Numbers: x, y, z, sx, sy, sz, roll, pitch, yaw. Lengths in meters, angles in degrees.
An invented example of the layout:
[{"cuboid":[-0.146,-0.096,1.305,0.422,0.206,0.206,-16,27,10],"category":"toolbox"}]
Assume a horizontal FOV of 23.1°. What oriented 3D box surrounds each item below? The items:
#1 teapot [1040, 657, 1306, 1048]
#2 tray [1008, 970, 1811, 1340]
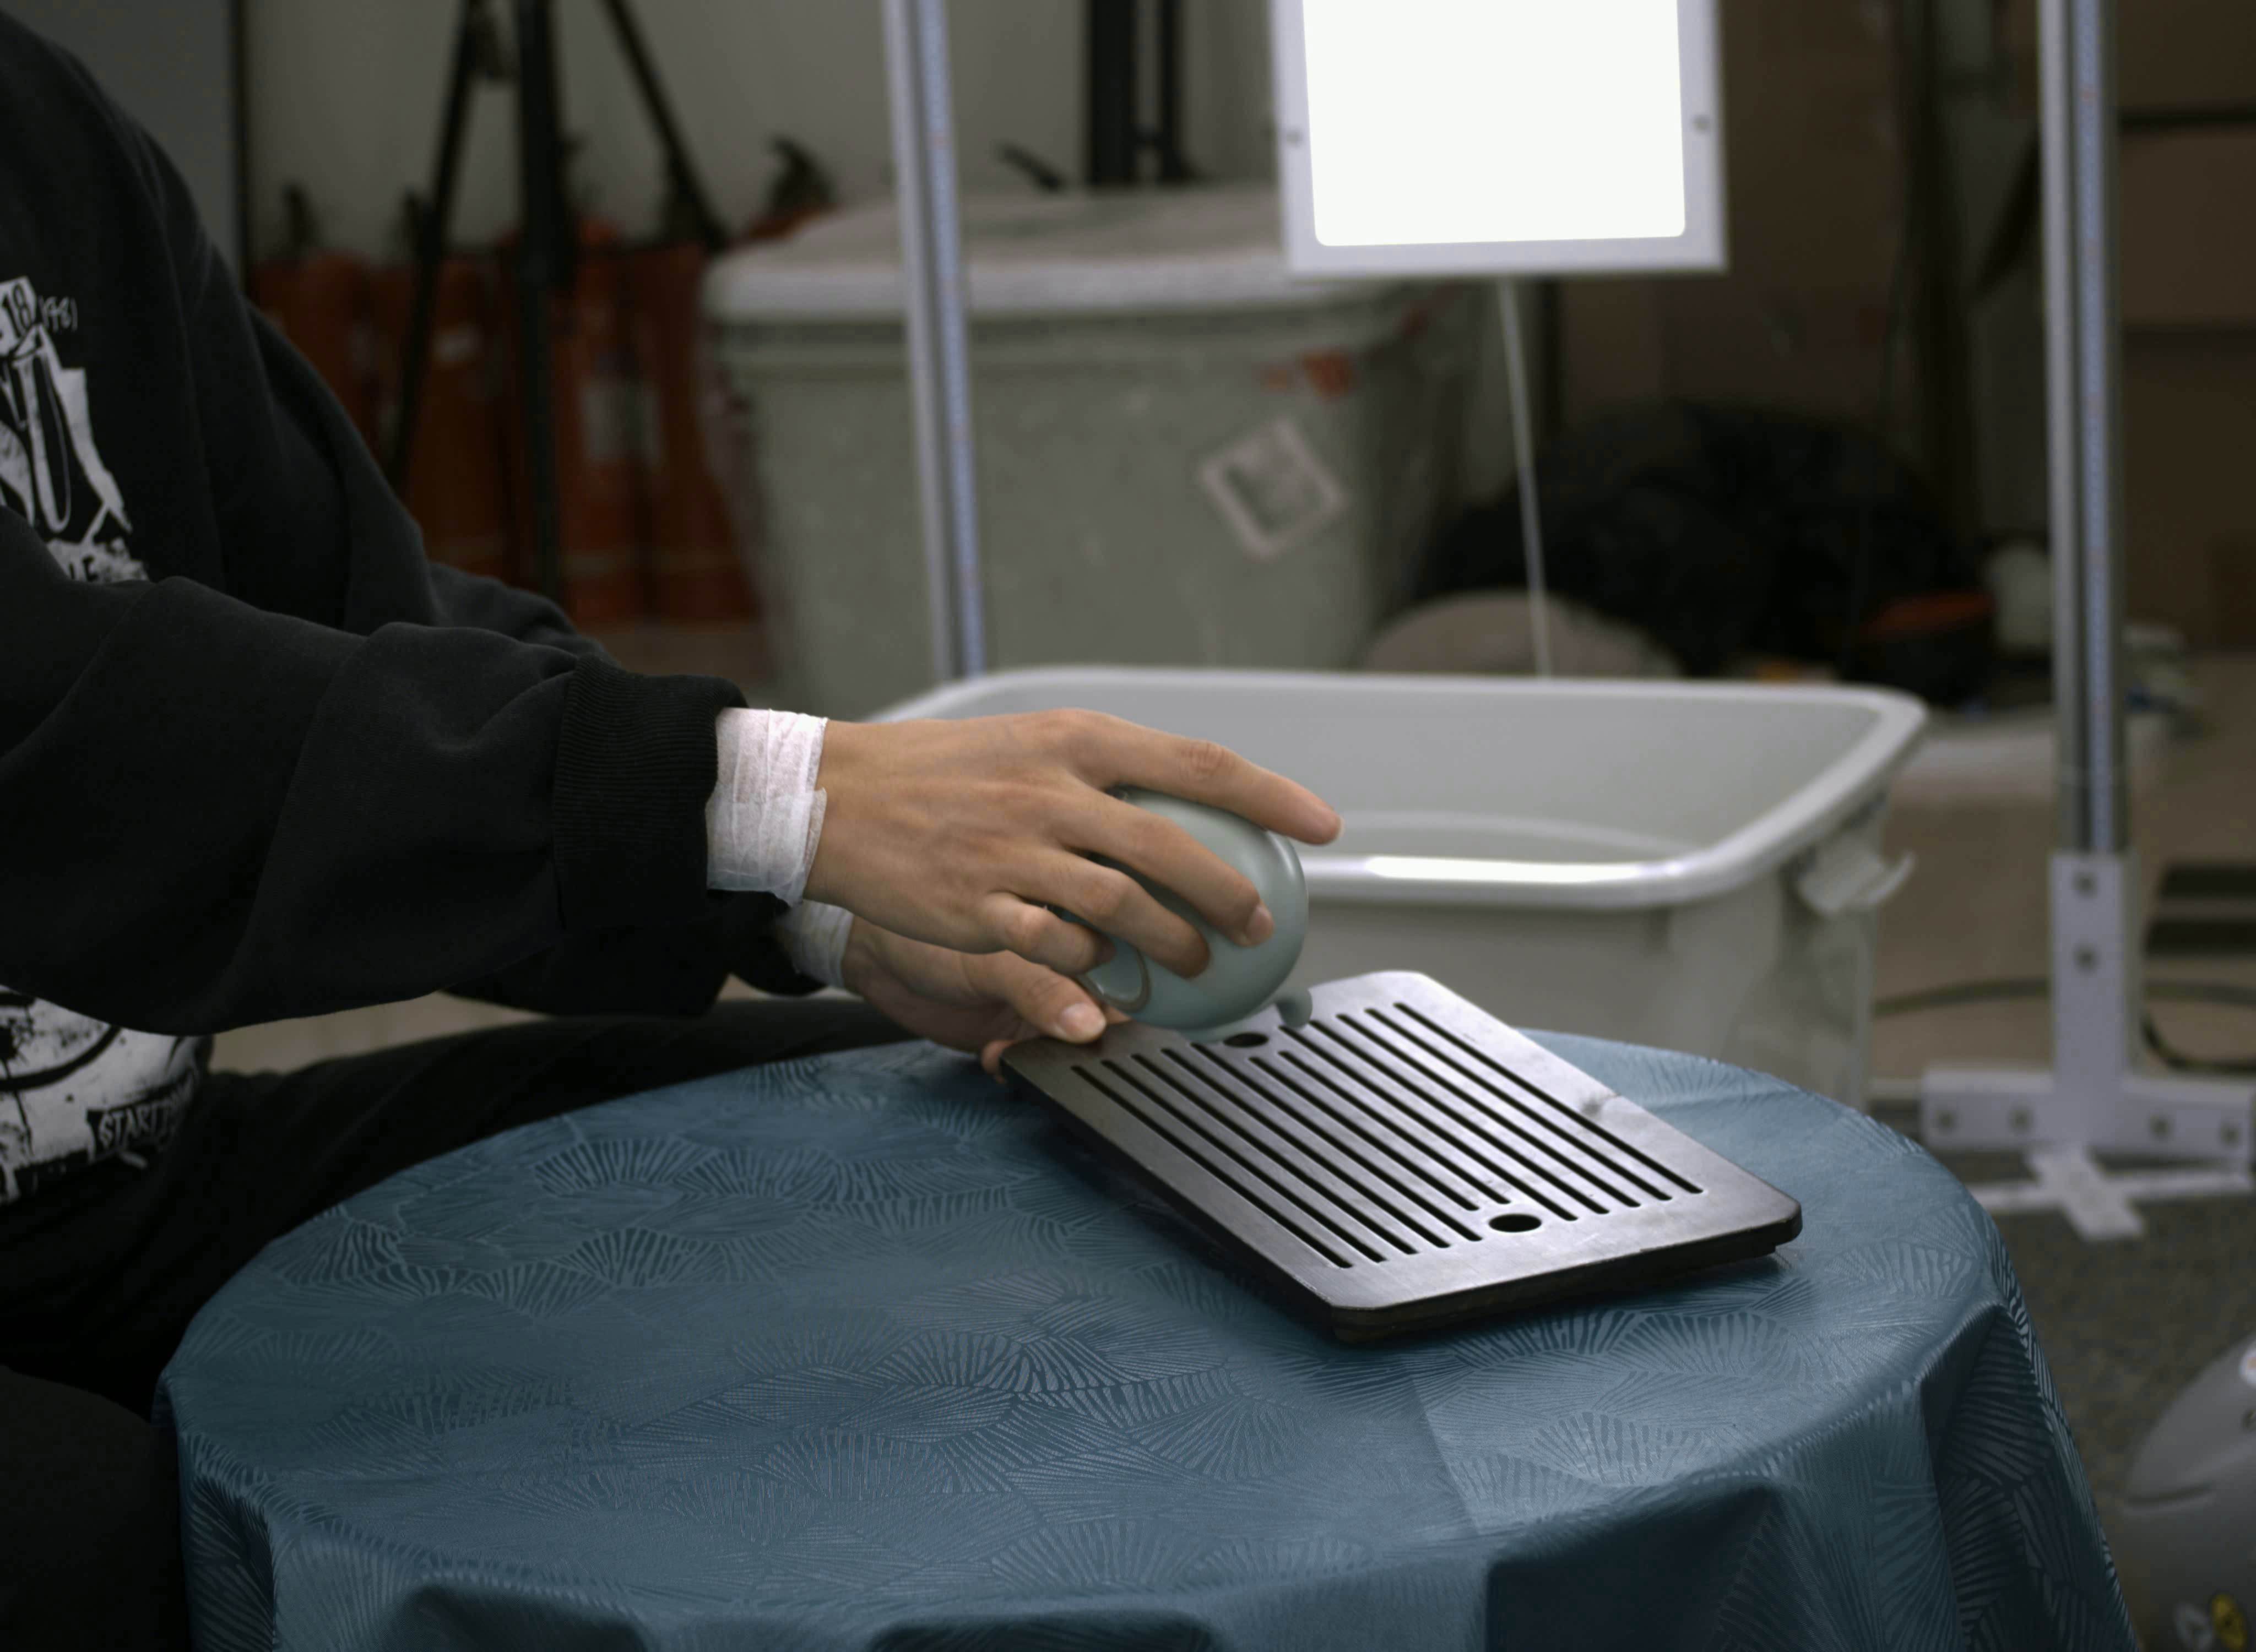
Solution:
[{"cuboid":[0.015,0.022,1.759,0.073,0.144,0.090,-33,30,-31],"category":"teapot"},{"cuboid":[0.089,0.108,1.874,0.167,0.019,0.310,-11,17,-20],"category":"tray"}]
